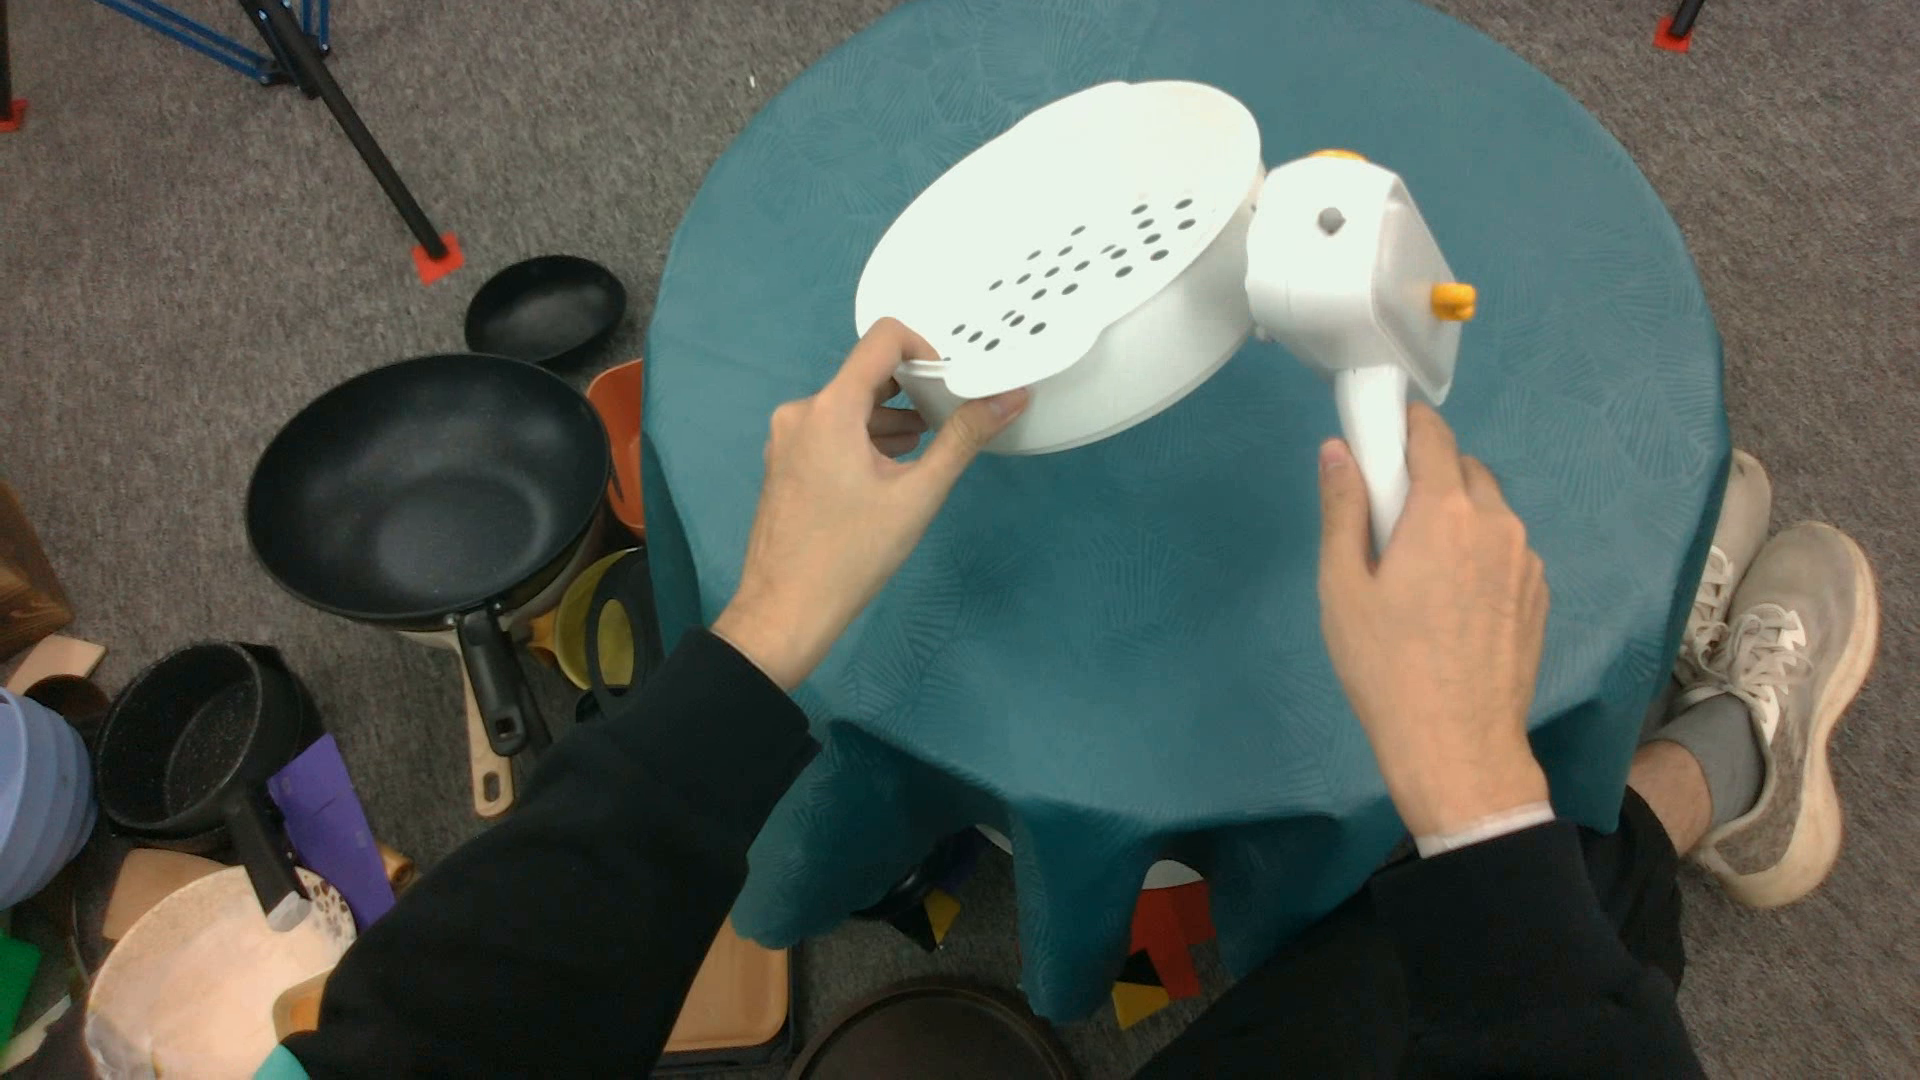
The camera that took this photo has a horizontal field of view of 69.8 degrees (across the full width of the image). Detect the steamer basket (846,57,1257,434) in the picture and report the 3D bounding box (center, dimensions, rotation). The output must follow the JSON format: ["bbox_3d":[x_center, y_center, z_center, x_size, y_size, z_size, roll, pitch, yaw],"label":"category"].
[{"bbox_3d":[0.048,-0.138,0.648,0.201,0.069,0.232,-13,44,25],"label":"steamer basket"}]

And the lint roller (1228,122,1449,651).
[{"bbox_3d":[0.161,-0.052,0.561,0.074,0.193,0.192,0,85,22],"label":"lint roller"}]
